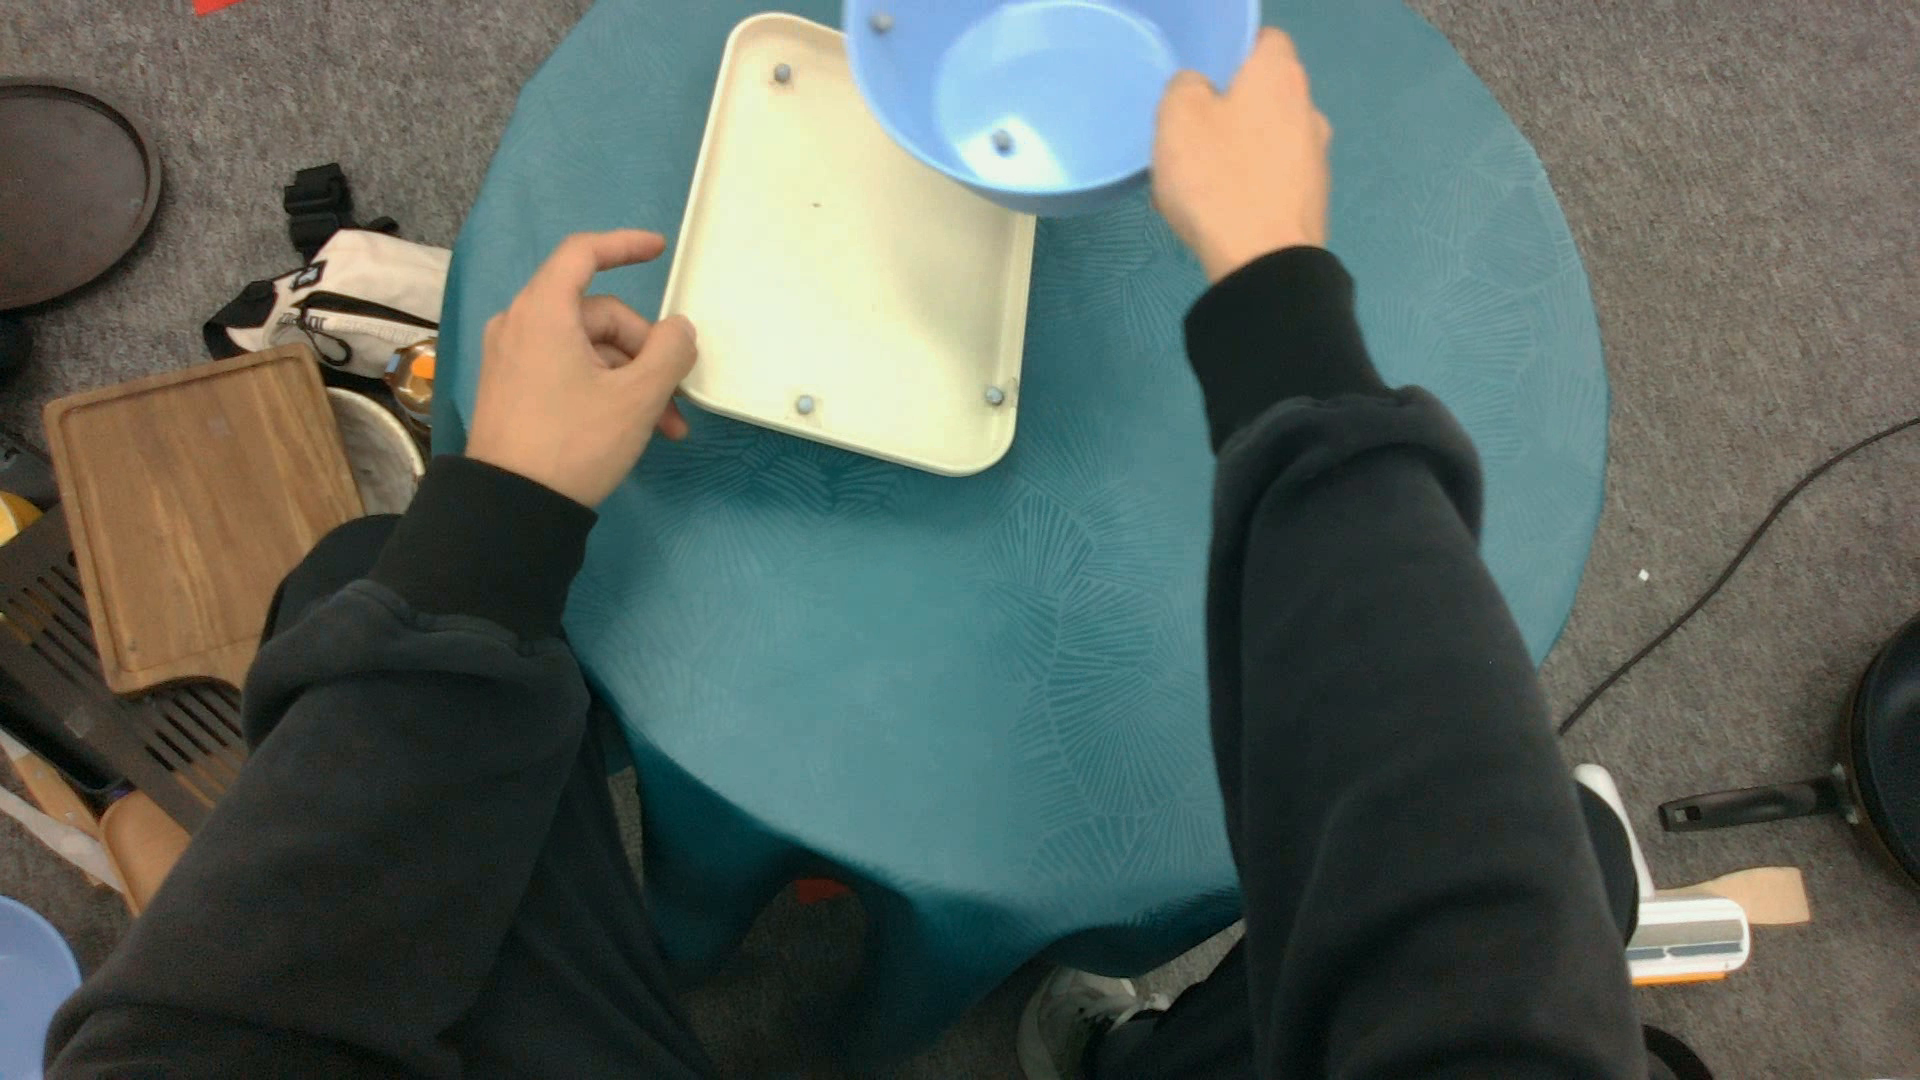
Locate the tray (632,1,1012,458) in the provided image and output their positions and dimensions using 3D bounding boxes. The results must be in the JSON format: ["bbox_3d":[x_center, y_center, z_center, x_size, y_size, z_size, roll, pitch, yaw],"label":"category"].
[{"bbox_3d":[-0.058,-0.154,0.670,0.171,0.017,0.240,14,61,-15],"label":"tray"}]

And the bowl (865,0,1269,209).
[{"bbox_3d":[0.049,-0.218,0.626,0.176,0.070,0.176,-3,69,8],"label":"bowl"}]
